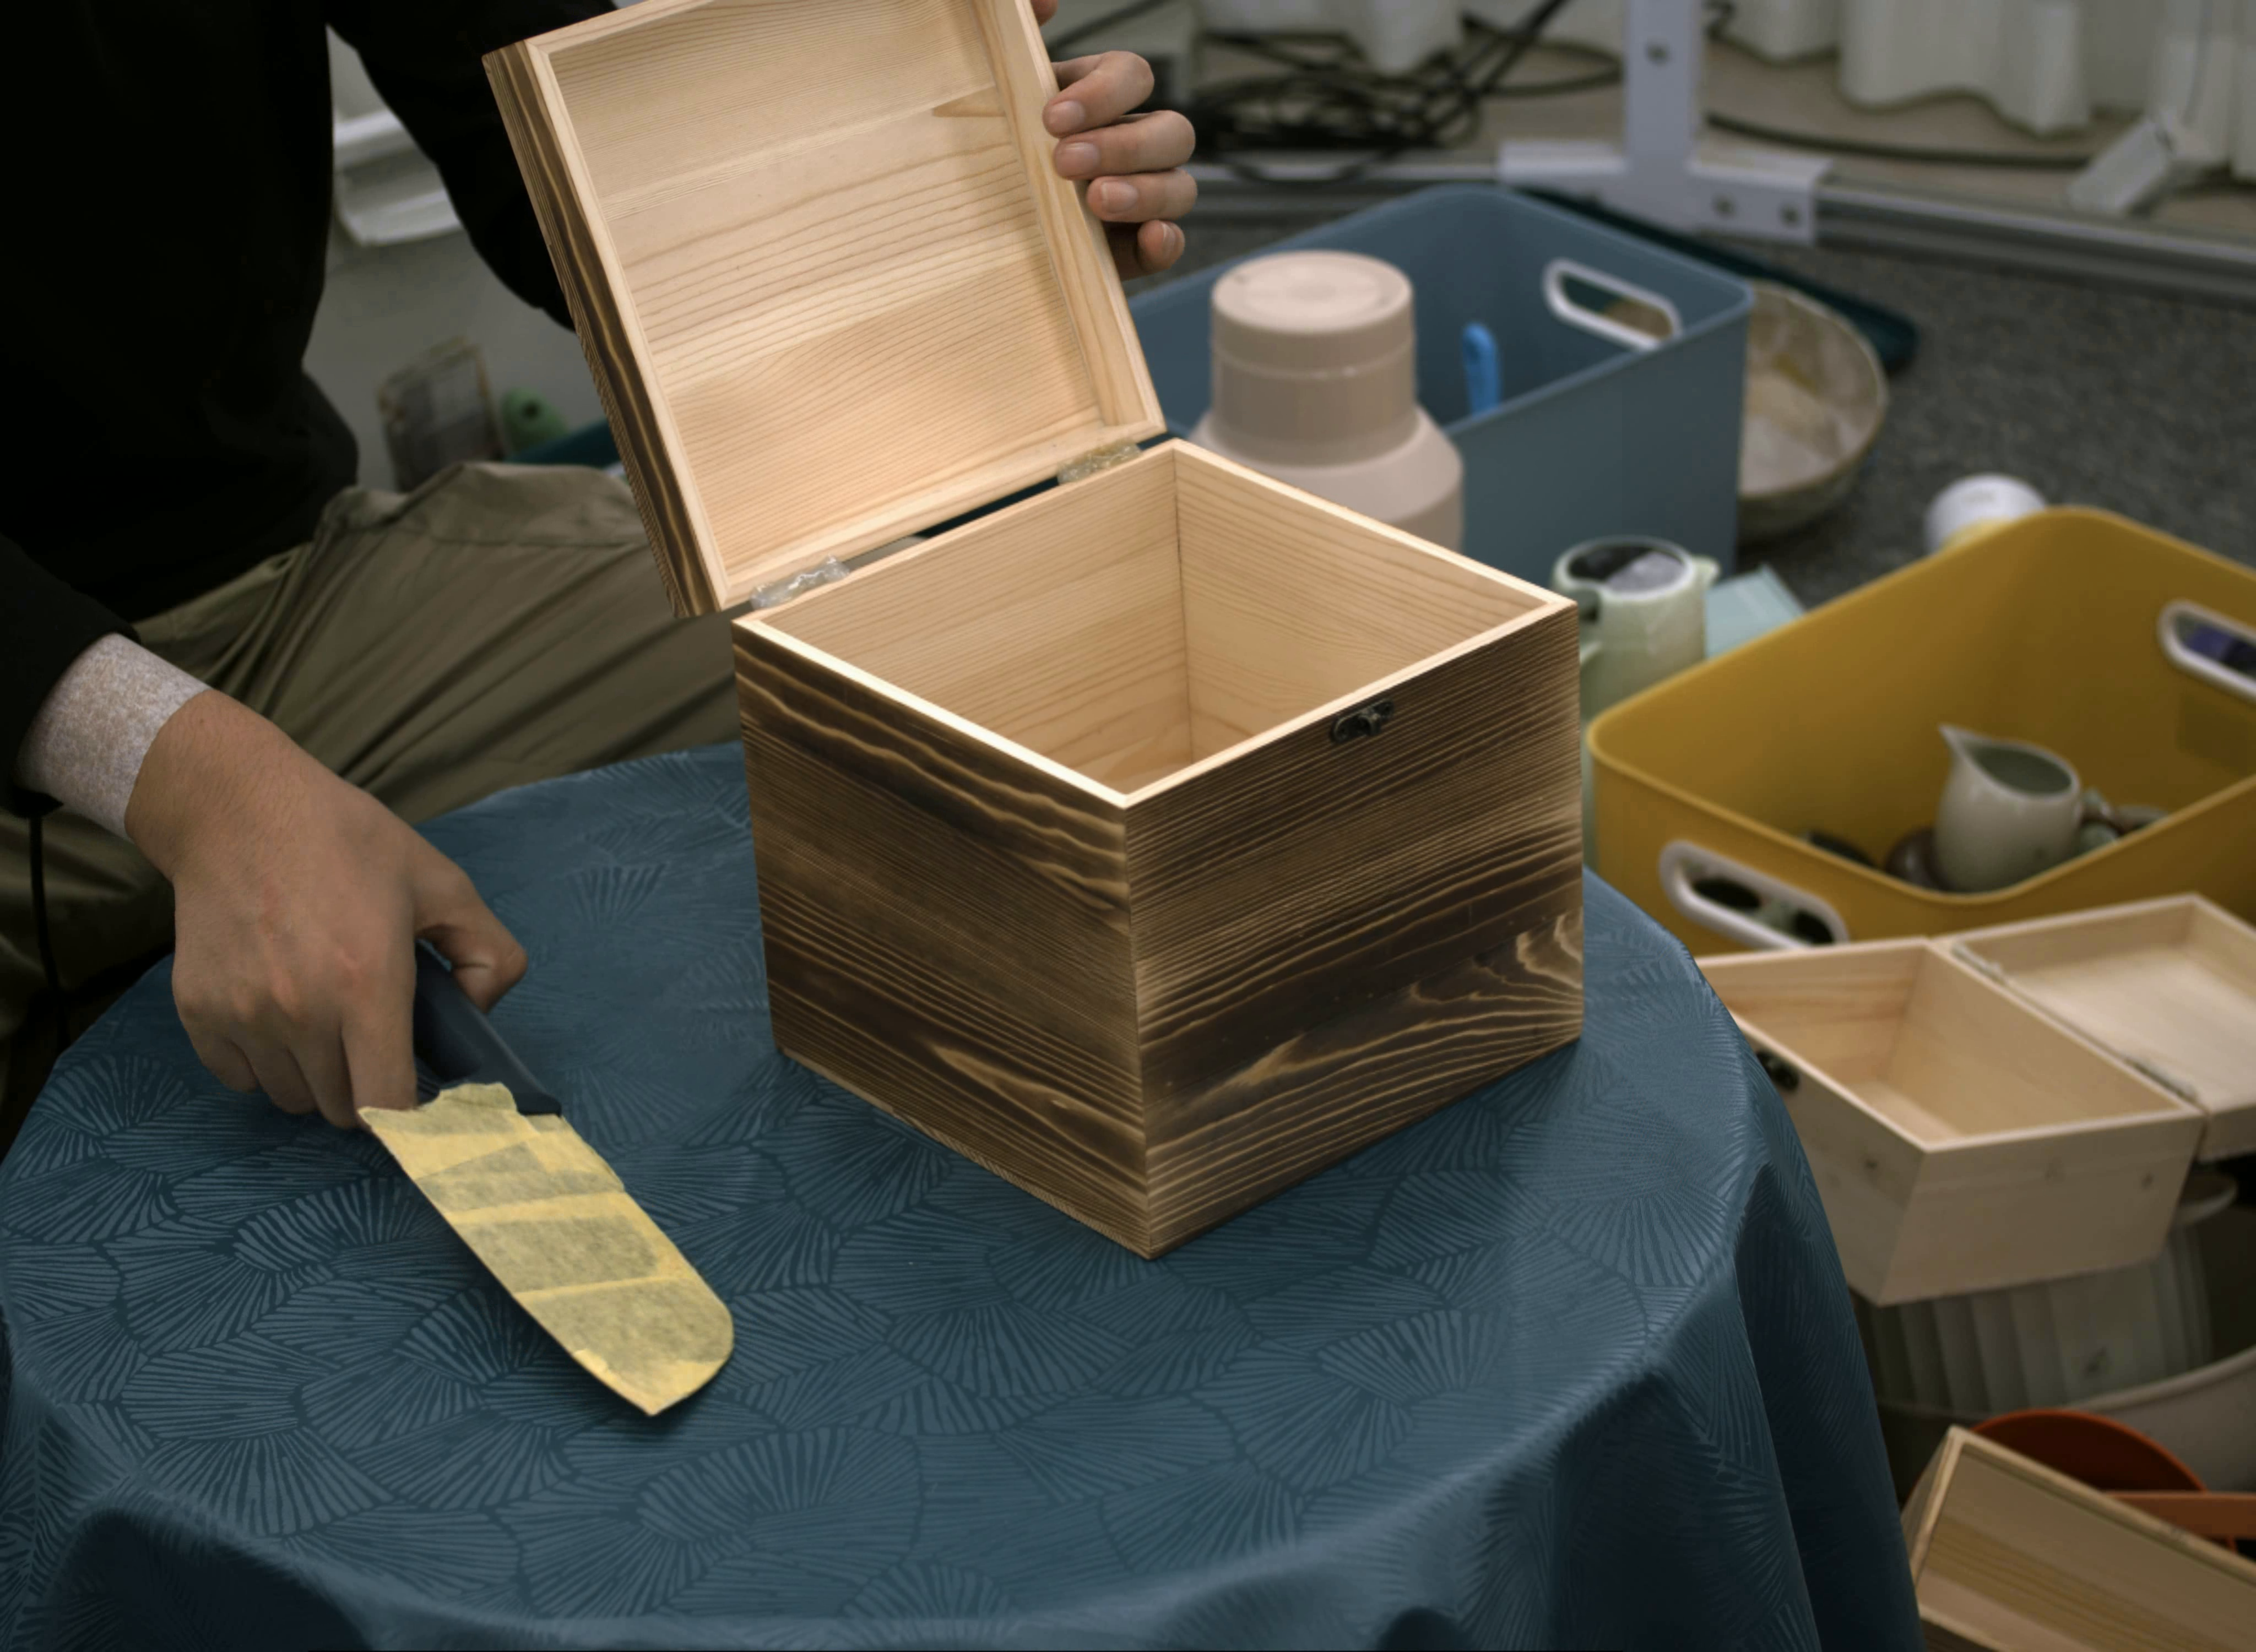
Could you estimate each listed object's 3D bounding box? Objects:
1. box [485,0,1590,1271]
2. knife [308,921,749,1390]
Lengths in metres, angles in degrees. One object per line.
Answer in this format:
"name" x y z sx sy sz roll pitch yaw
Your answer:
"box" -0.028 -0.098 1.903 0.211 0.371 0.322 -25 33 -35
"knife" -0.209 0.108 1.853 0.081 0.027 0.291 3 26 -38
